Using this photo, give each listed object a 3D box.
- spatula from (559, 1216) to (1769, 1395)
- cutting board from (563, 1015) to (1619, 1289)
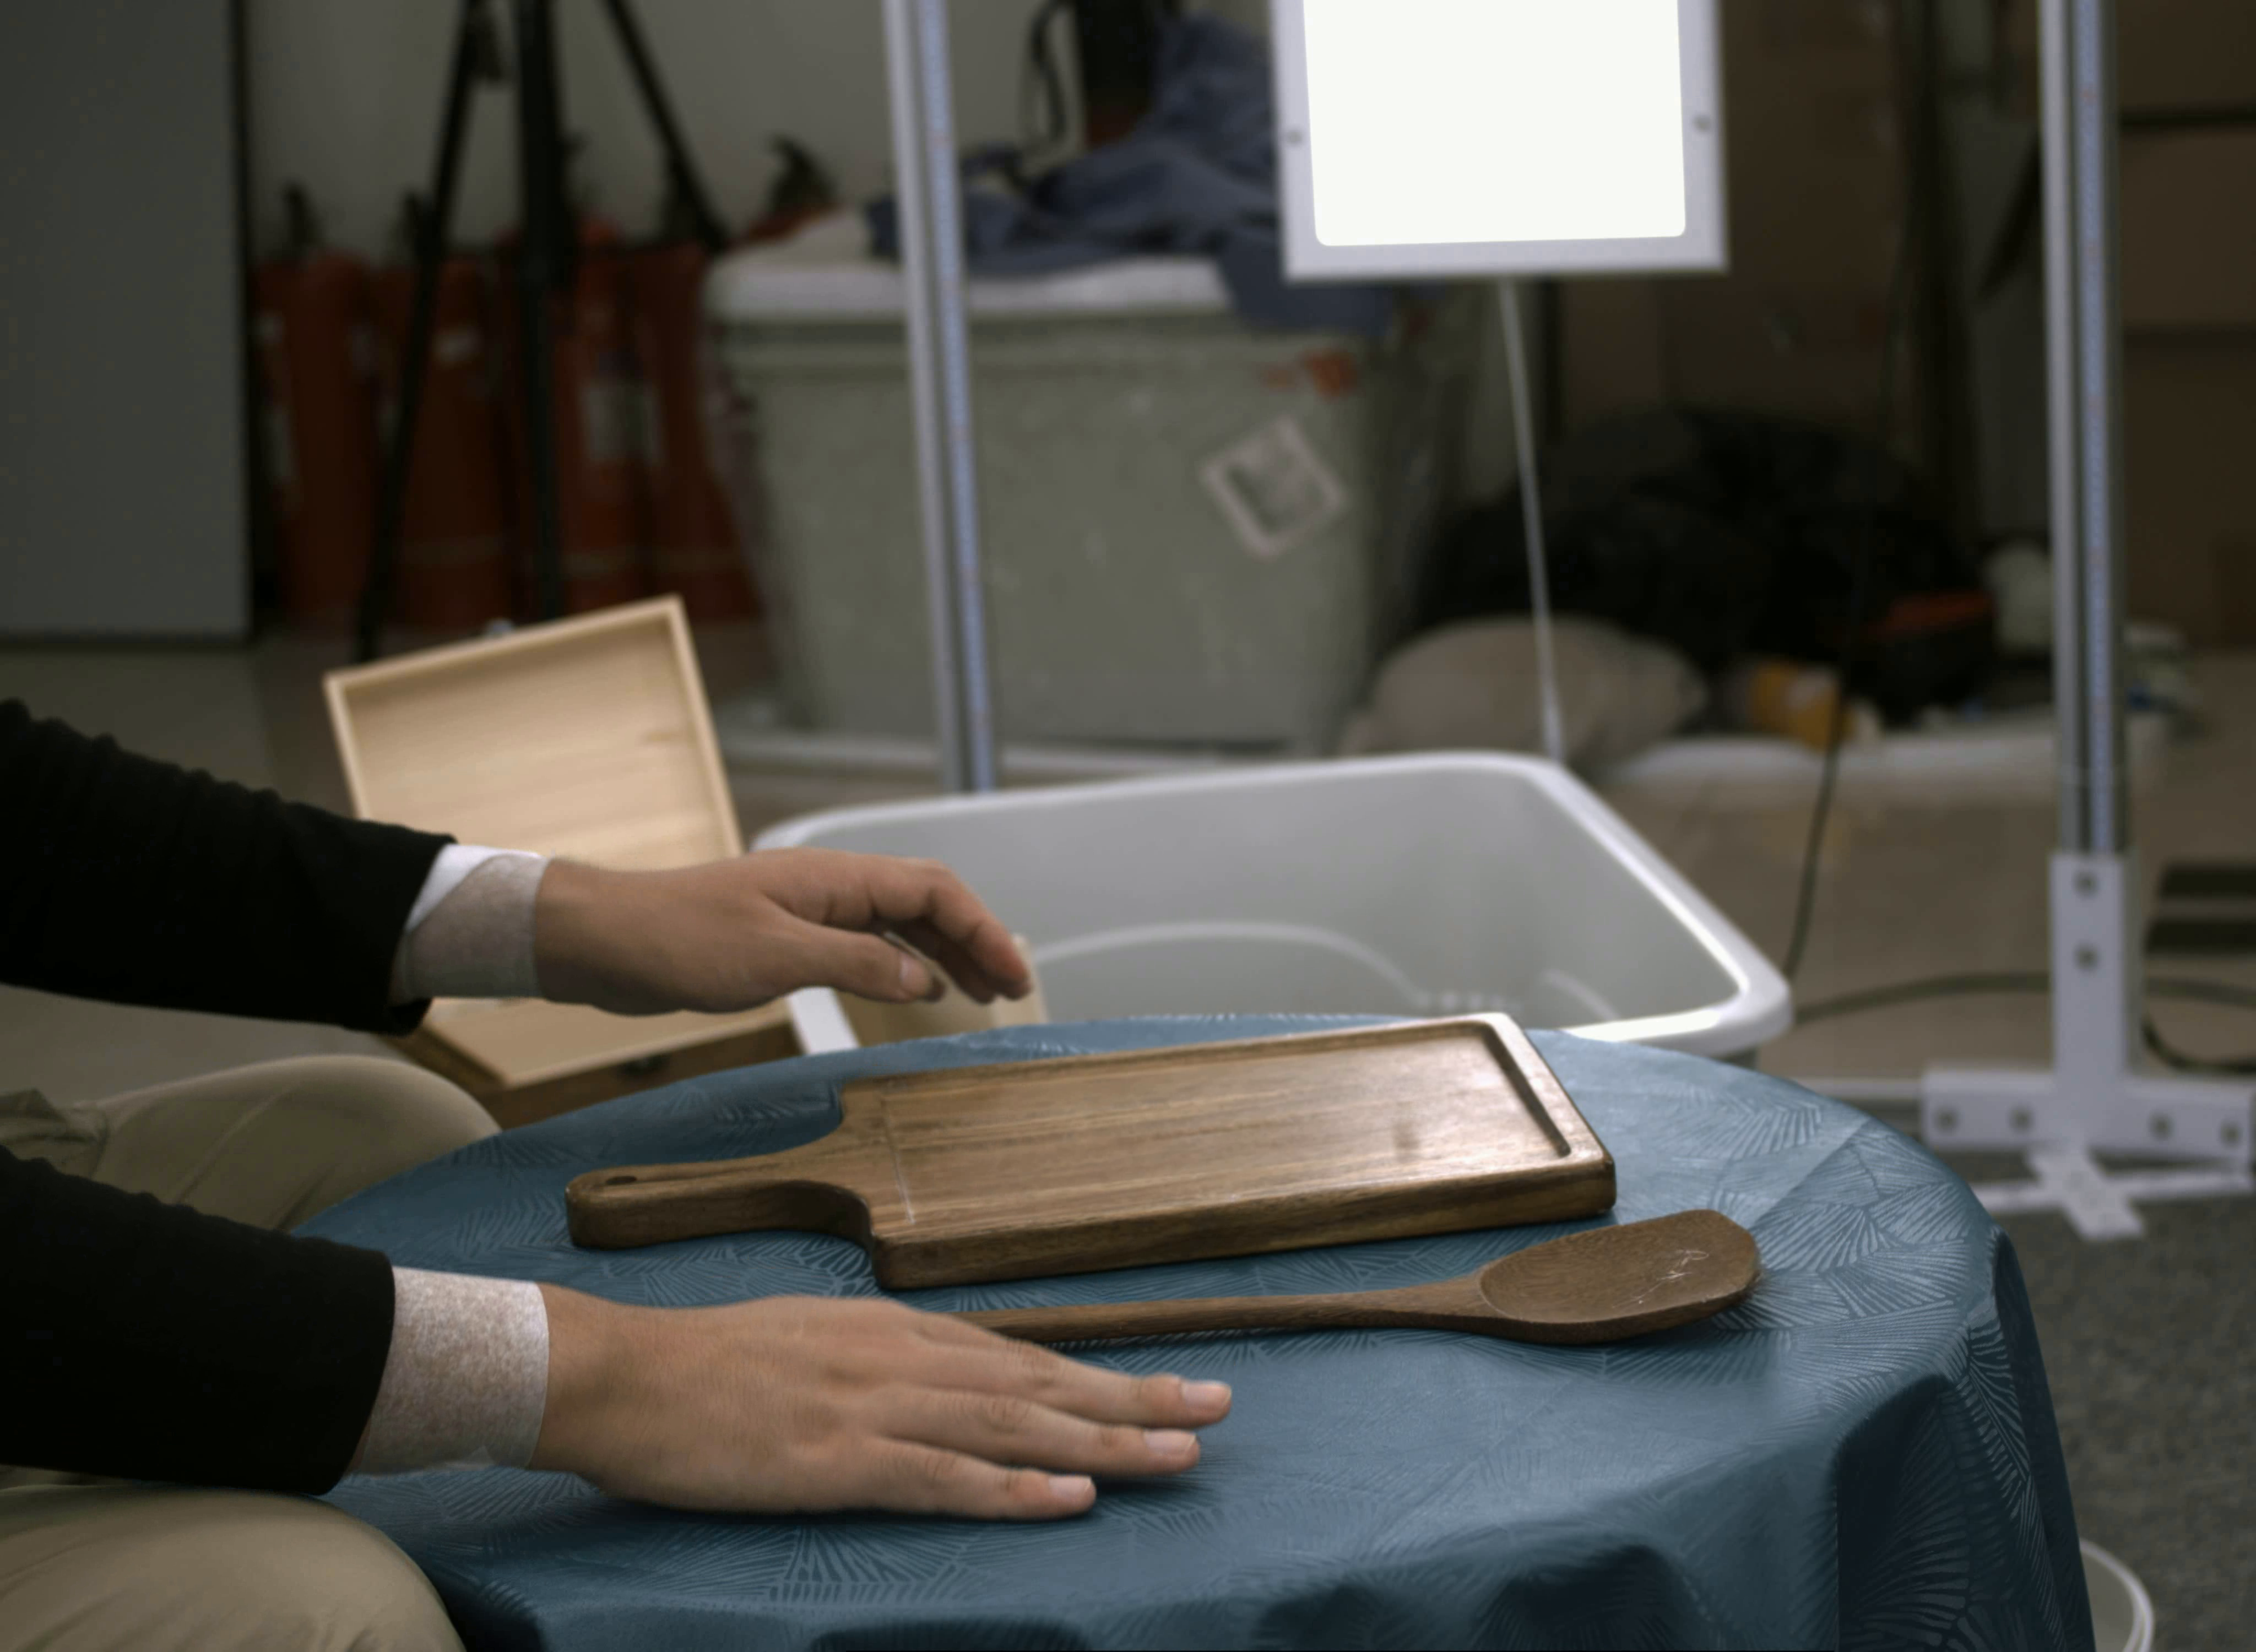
[{"bbox_3d":[0.011,0.156,1.744,0.385,0.016,0.096,-5,13,2],"label":"spatula"},{"bbox_3d":[-0.020,0.115,1.907,0.350,0.023,0.201,-6,13,-4],"label":"cutting board"}]
